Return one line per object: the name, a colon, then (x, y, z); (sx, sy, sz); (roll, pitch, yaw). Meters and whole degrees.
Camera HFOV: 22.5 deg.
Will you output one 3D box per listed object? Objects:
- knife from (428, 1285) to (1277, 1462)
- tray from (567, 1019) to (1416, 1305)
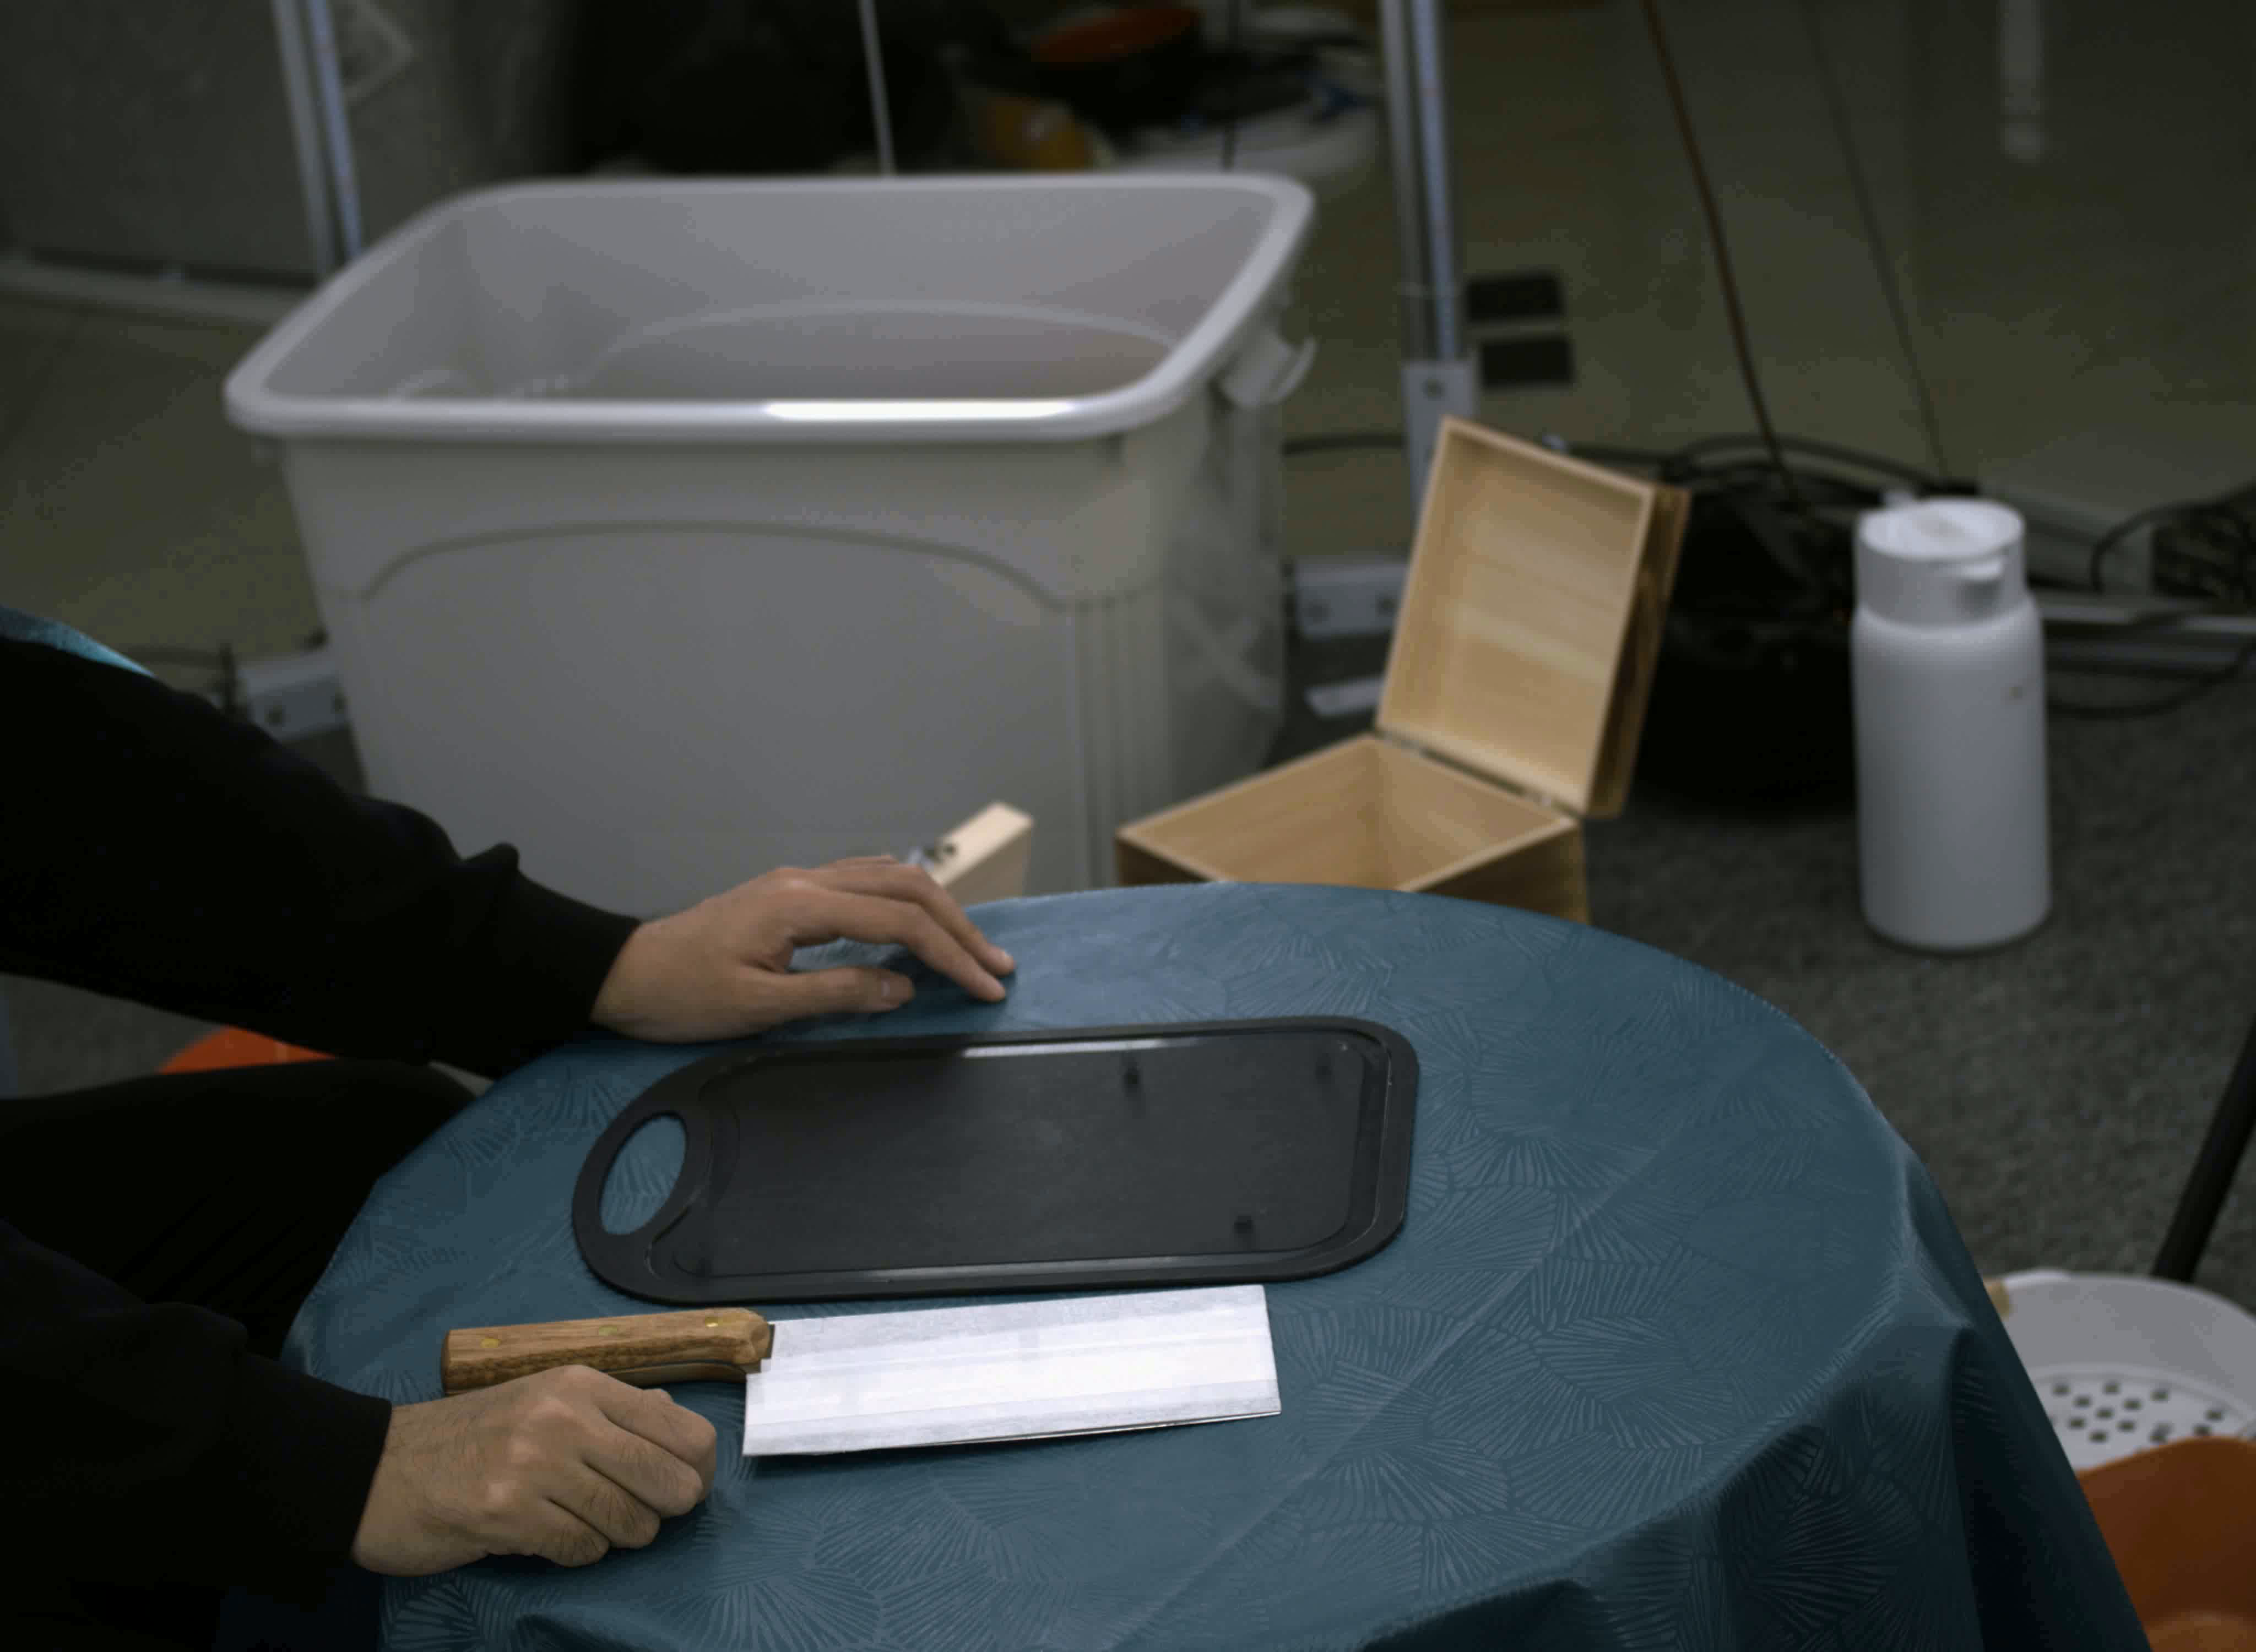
knife: (-0.100, 0.198, 2.028); (0.305, 0.021, 0.091); (-4, 27, -1)
tray: (-0.054, 0.126, 2.179); (0.325, 0.010, 0.208); (-3, 25, 8)
